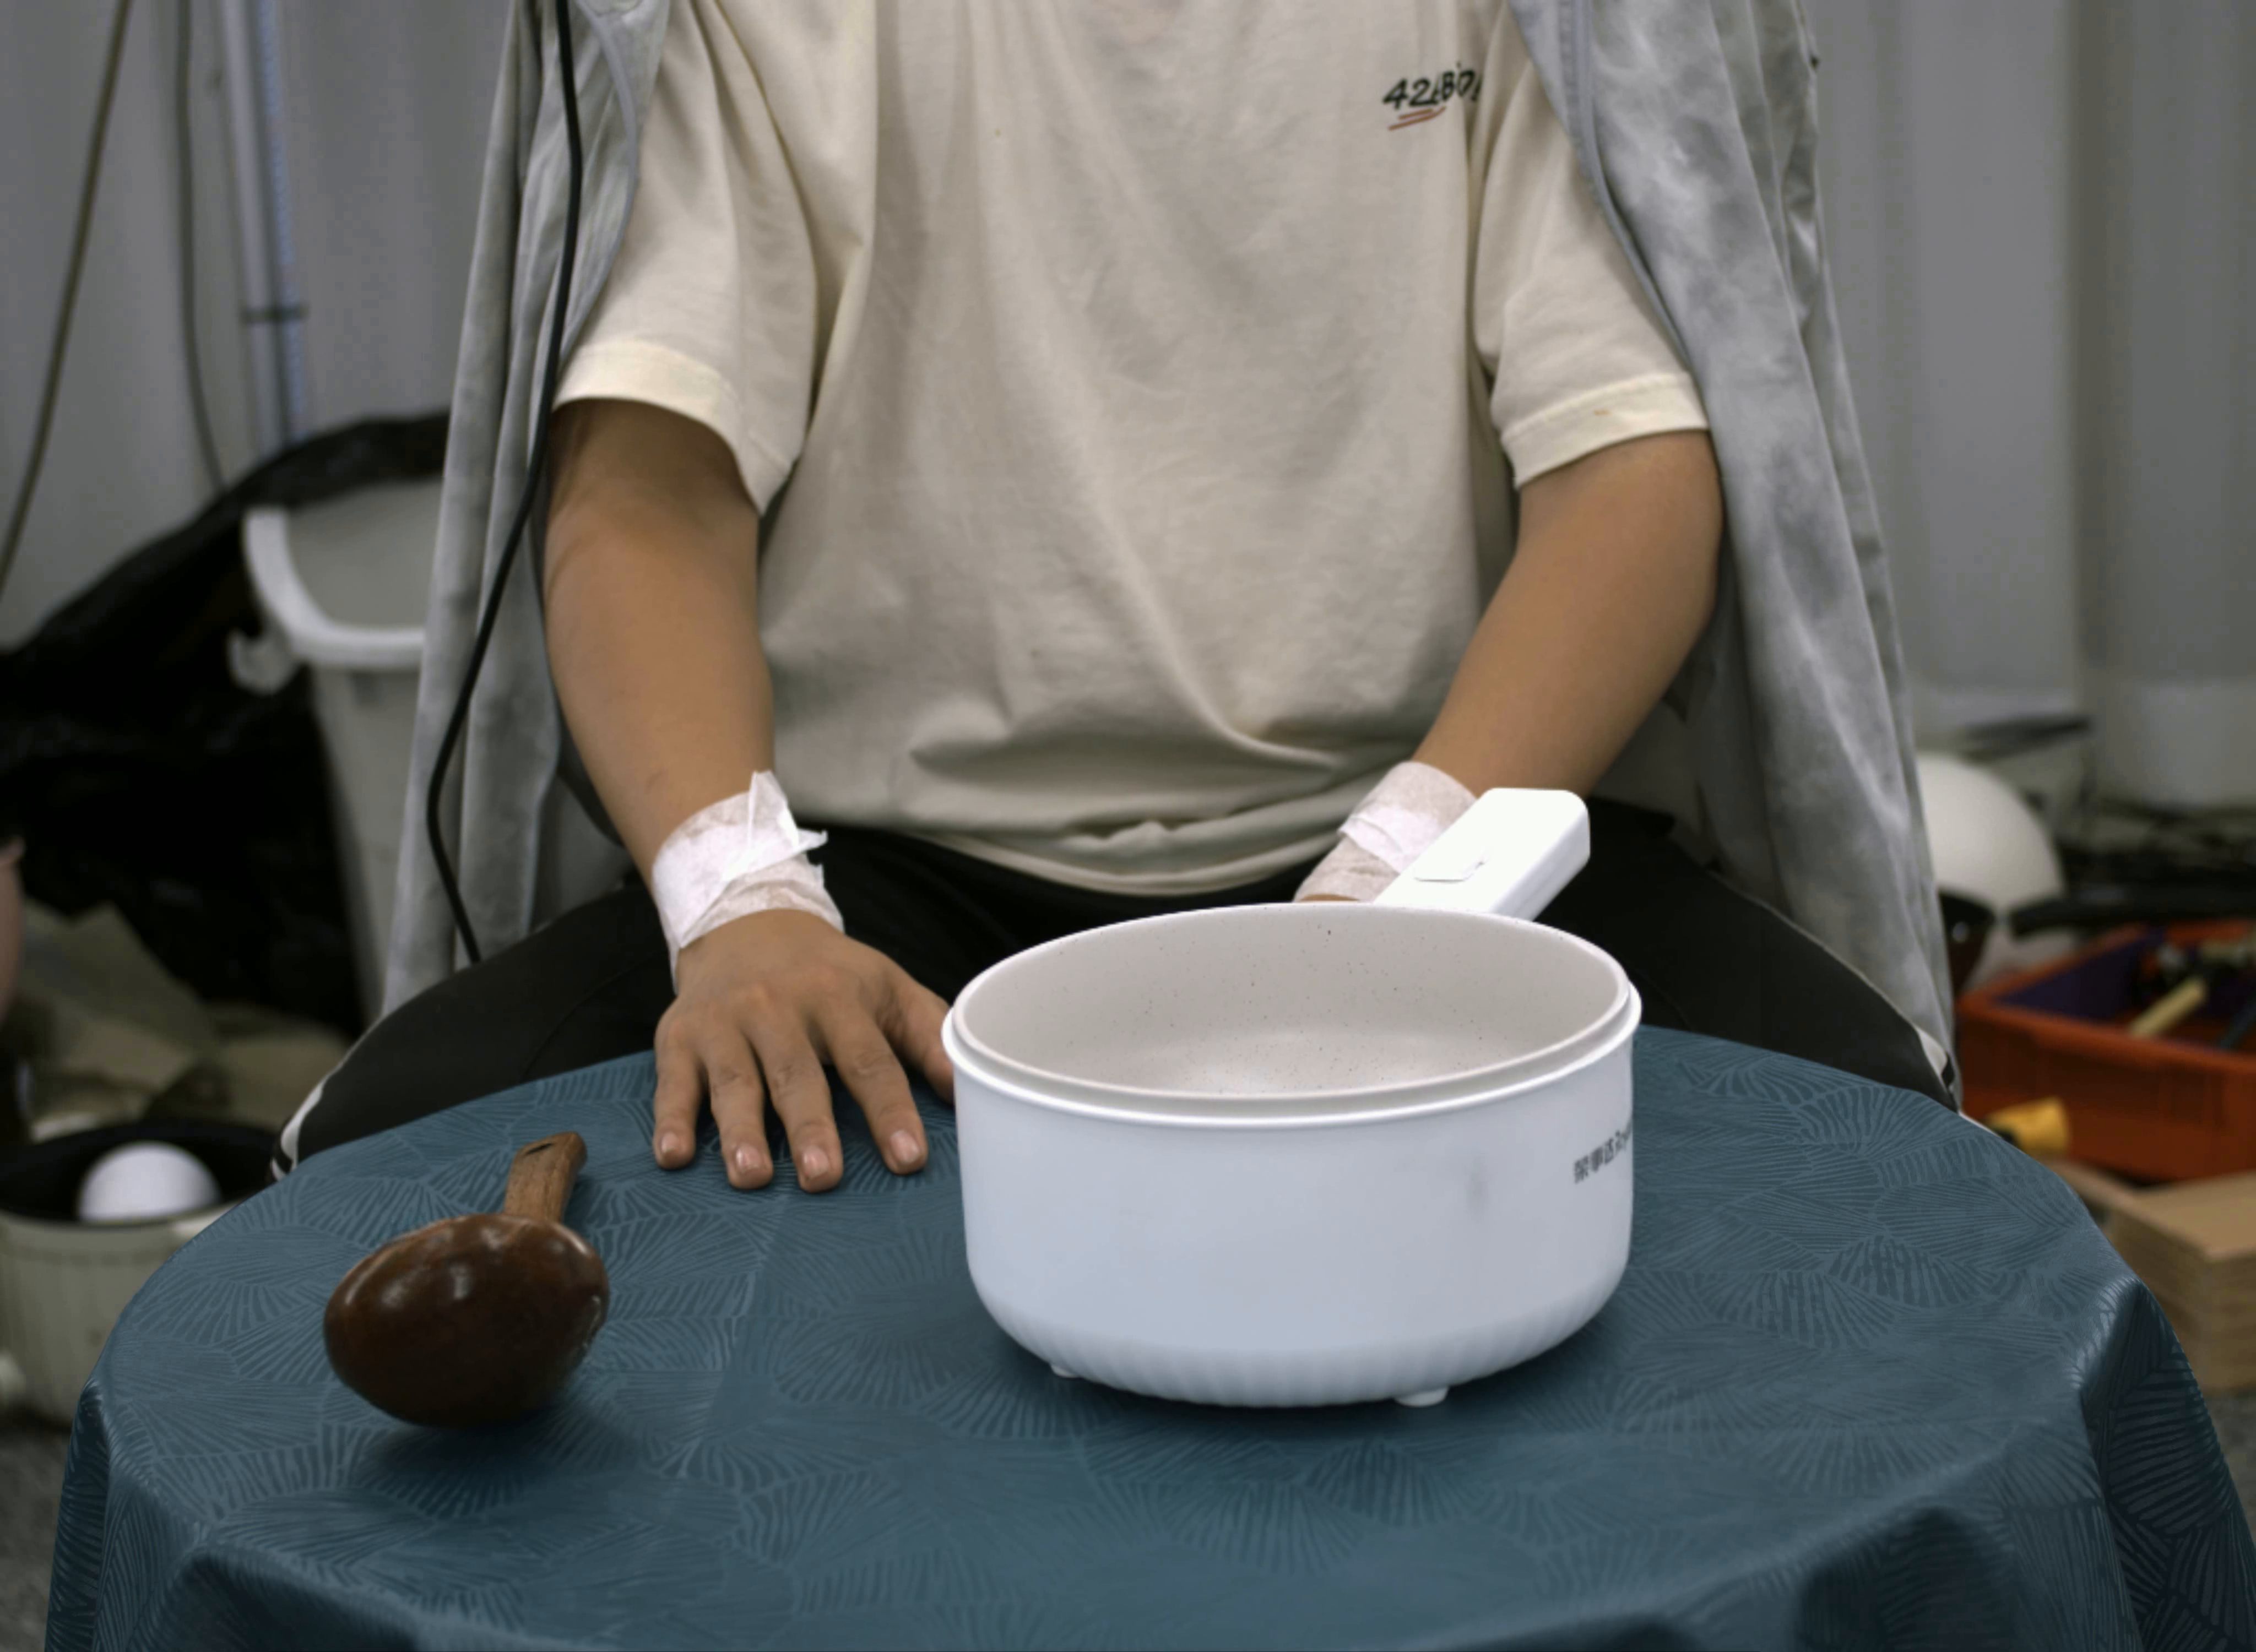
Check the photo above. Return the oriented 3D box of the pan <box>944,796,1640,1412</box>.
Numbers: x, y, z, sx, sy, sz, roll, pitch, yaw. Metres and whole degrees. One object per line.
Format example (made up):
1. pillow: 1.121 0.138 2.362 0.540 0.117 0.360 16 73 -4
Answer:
1. pan: 0.076 0.079 1.652 0.201 0.102 0.356 1 15 21

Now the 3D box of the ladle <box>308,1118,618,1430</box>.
1. ladle: -0.187 0.110 1.621 0.081 0.076 0.276 -14 16 4
